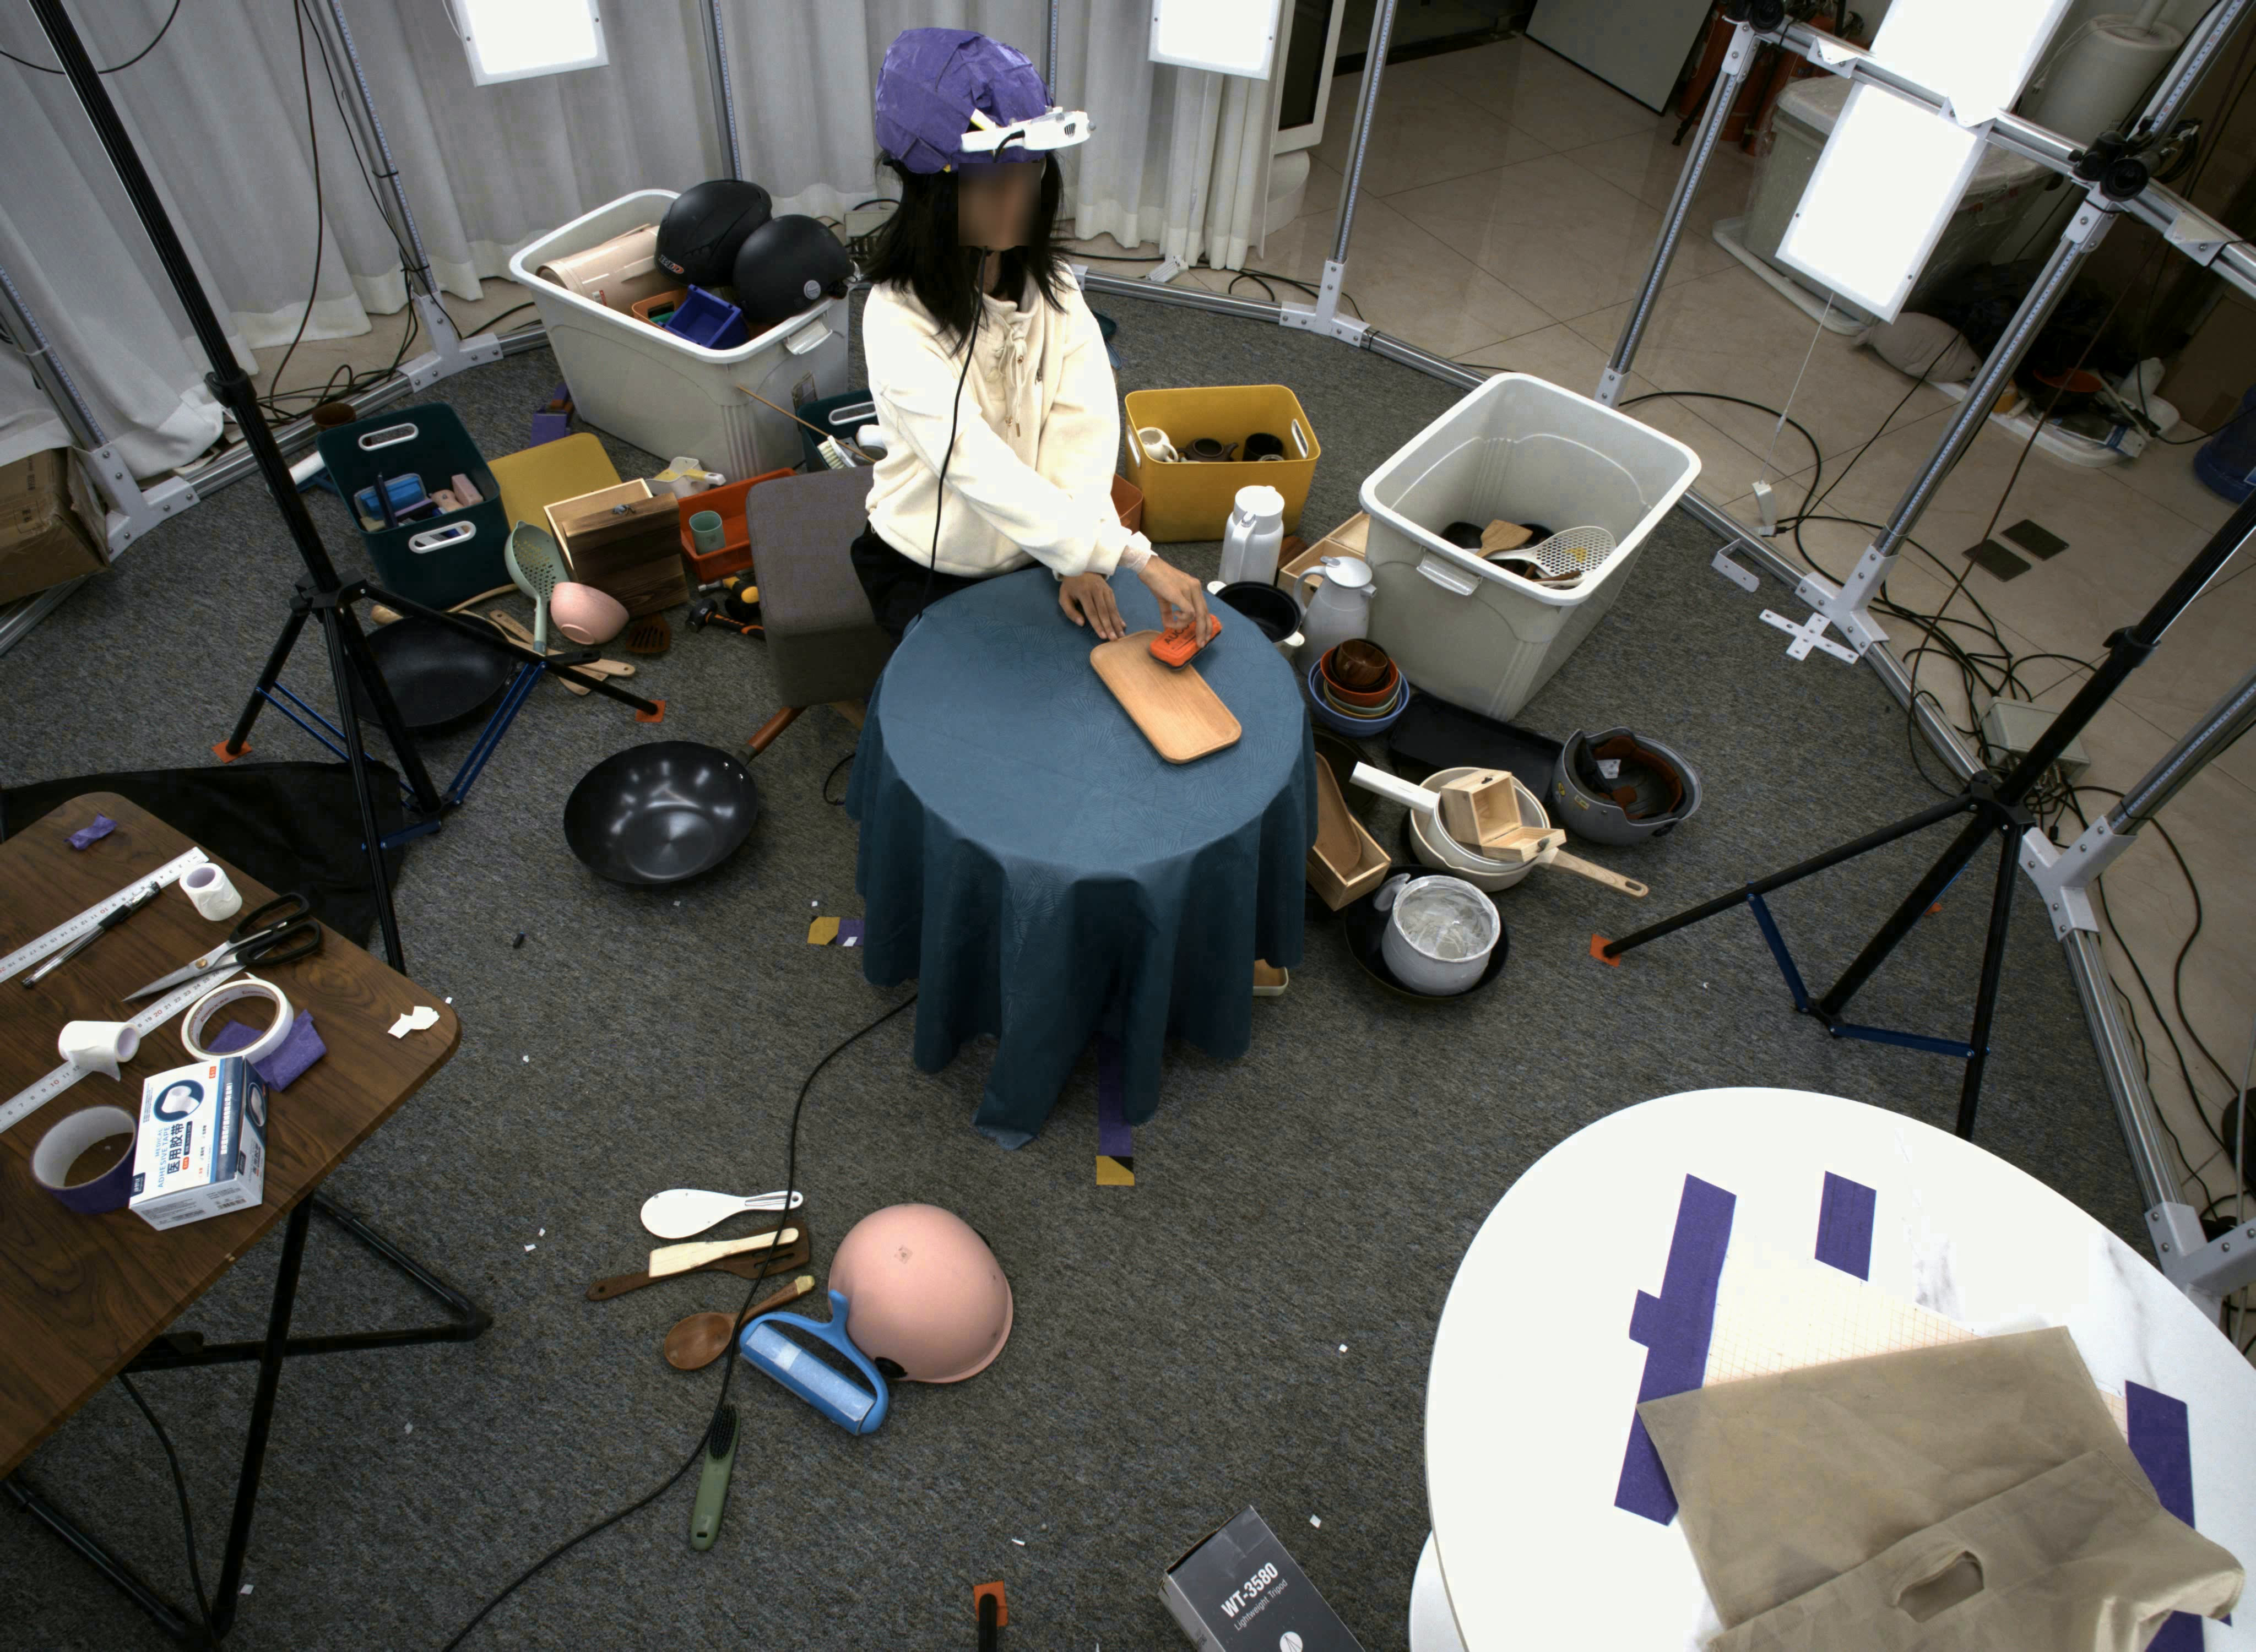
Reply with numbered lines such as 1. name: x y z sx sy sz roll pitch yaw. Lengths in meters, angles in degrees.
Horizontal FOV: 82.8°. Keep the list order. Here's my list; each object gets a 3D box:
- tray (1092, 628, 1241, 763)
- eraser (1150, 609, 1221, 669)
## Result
1. tray: 0.052 -0.188 1.825 0.131 0.022 0.256 -18 52 -22
2. eraser: 0.085 -0.274 1.876 0.060 0.022 0.109 29 56 29
